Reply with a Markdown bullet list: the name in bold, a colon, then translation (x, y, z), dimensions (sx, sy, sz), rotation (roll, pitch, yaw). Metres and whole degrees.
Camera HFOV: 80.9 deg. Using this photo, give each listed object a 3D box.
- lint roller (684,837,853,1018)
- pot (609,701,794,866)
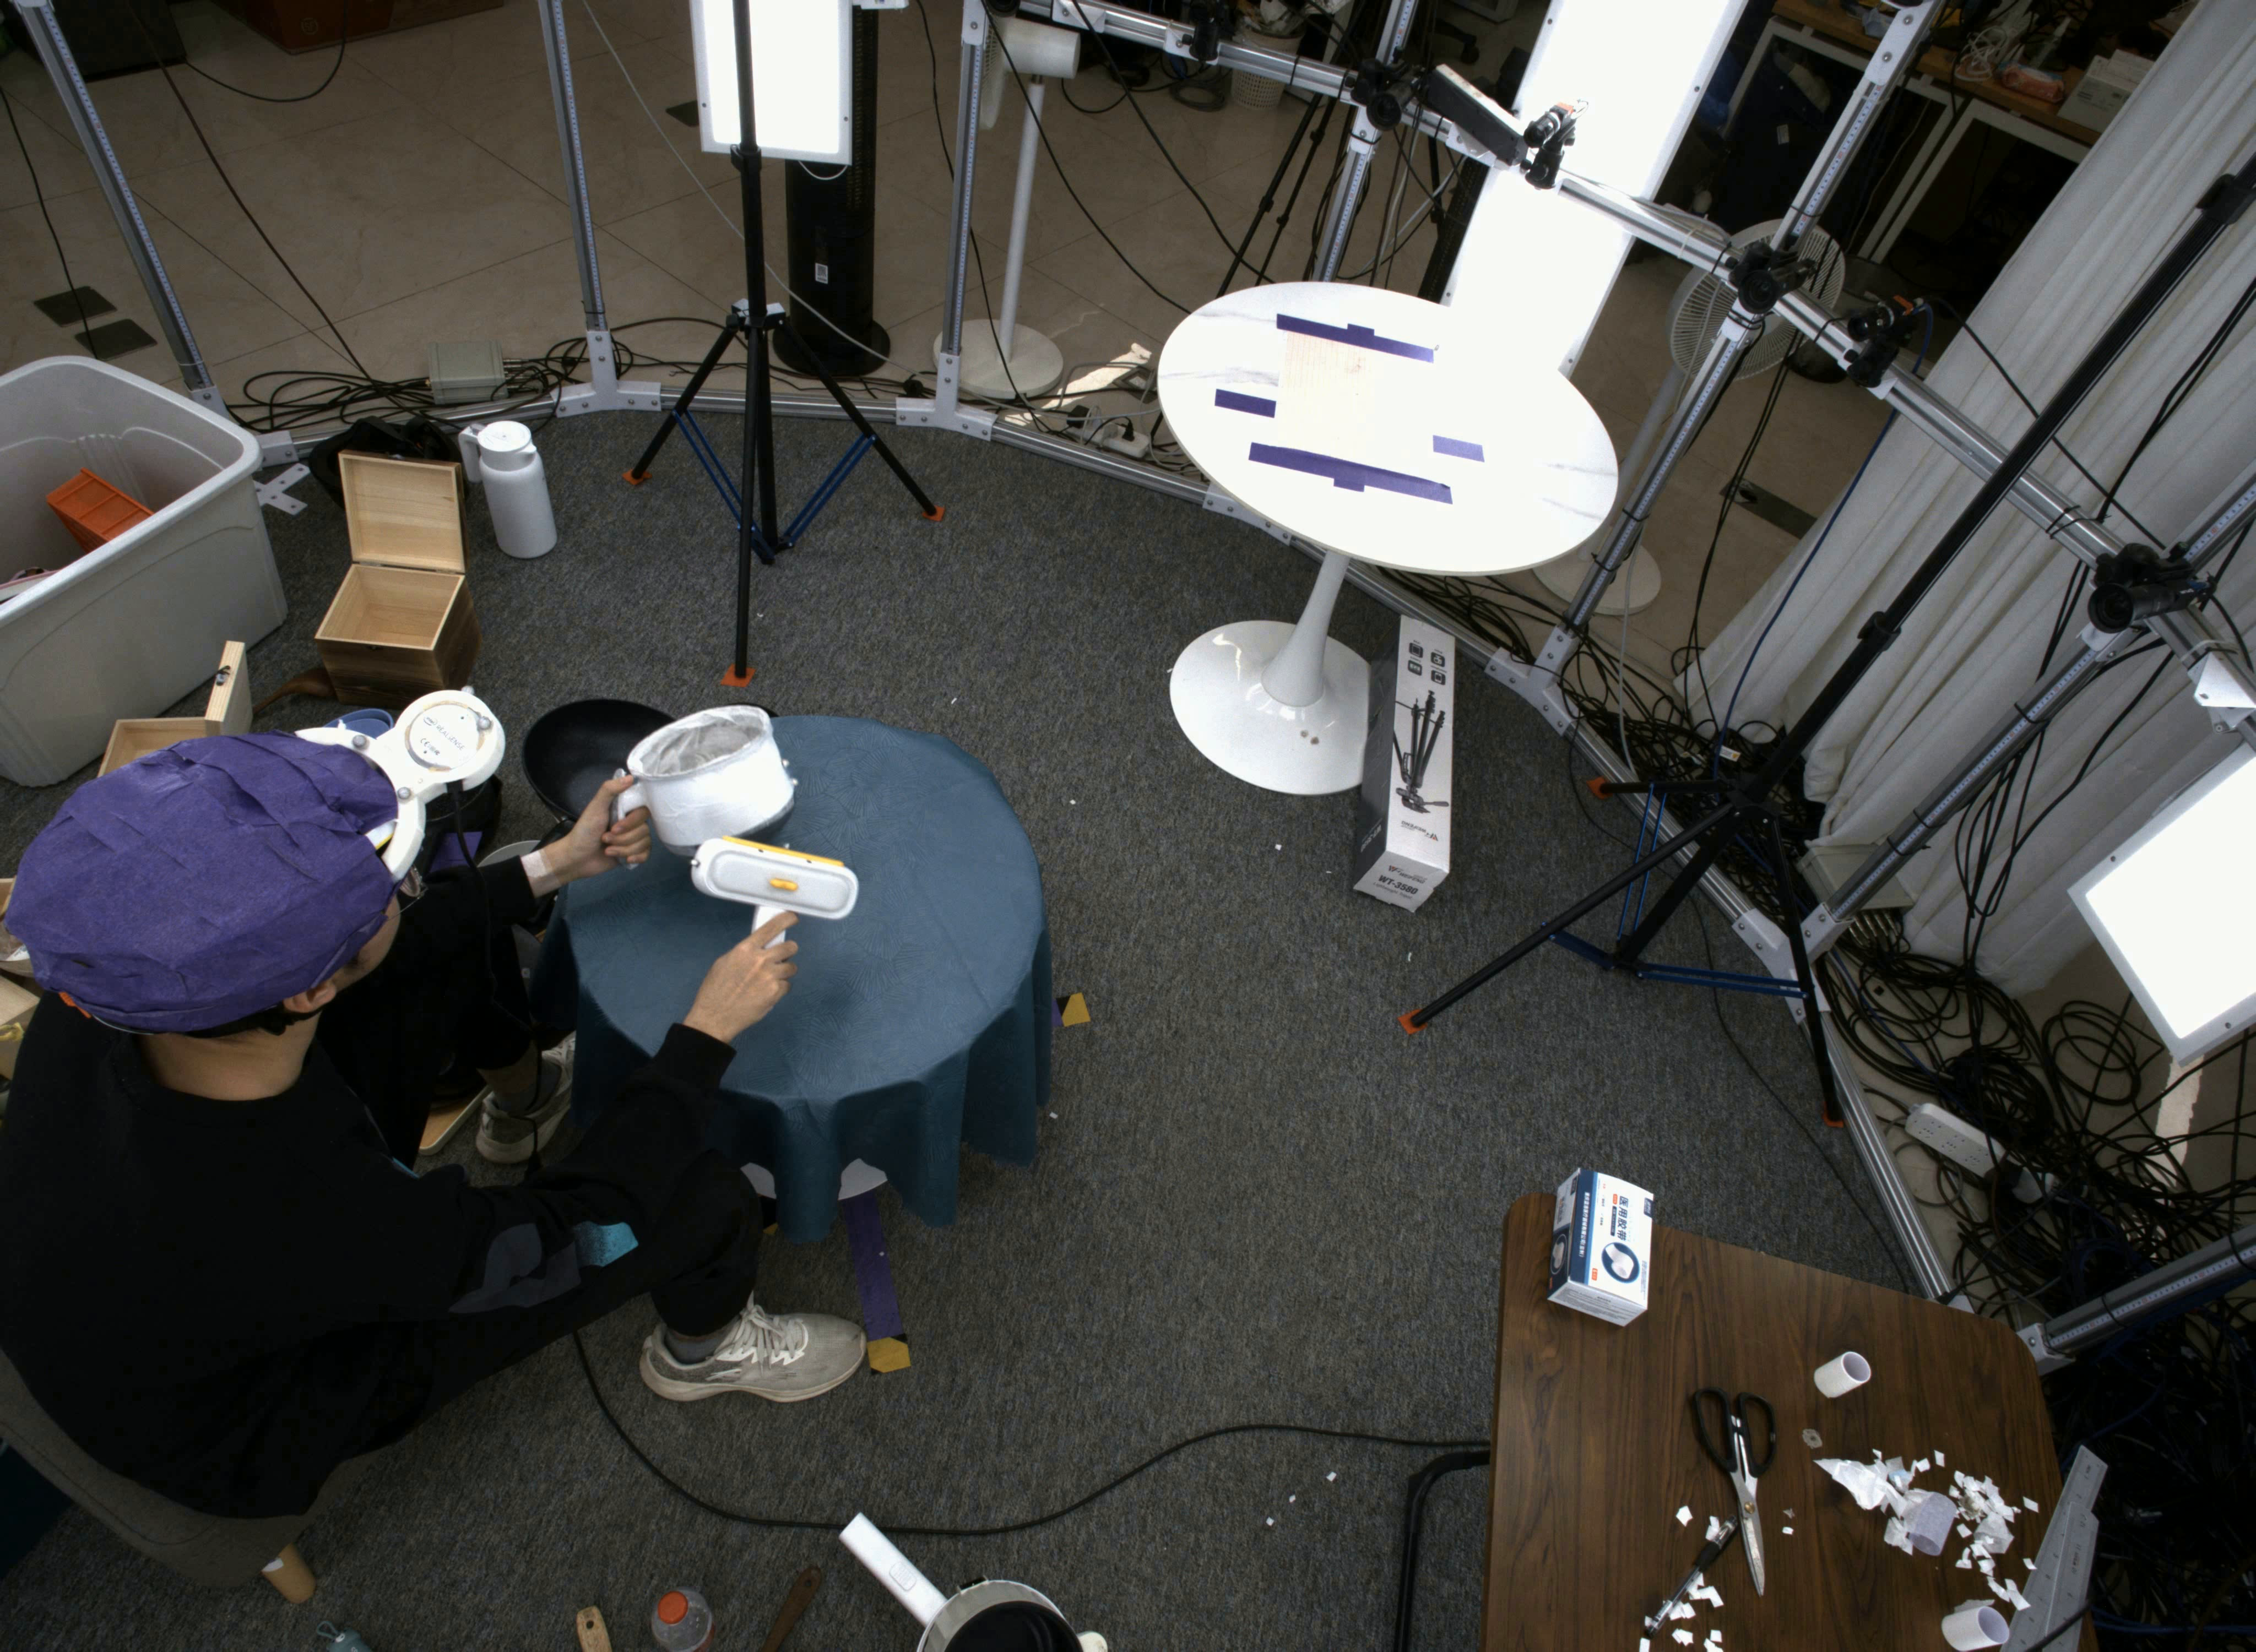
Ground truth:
- **lint roller**: translation (-0.412, 0.118, 1.476), dimensions (0.197, 0.072, 0.194), rotation (11, 83, -36)
- **pot**: translation (-0.533, -0.046, 1.579), dimensions (0.234, 0.141, 0.172), rotation (-28, 32, -25)
